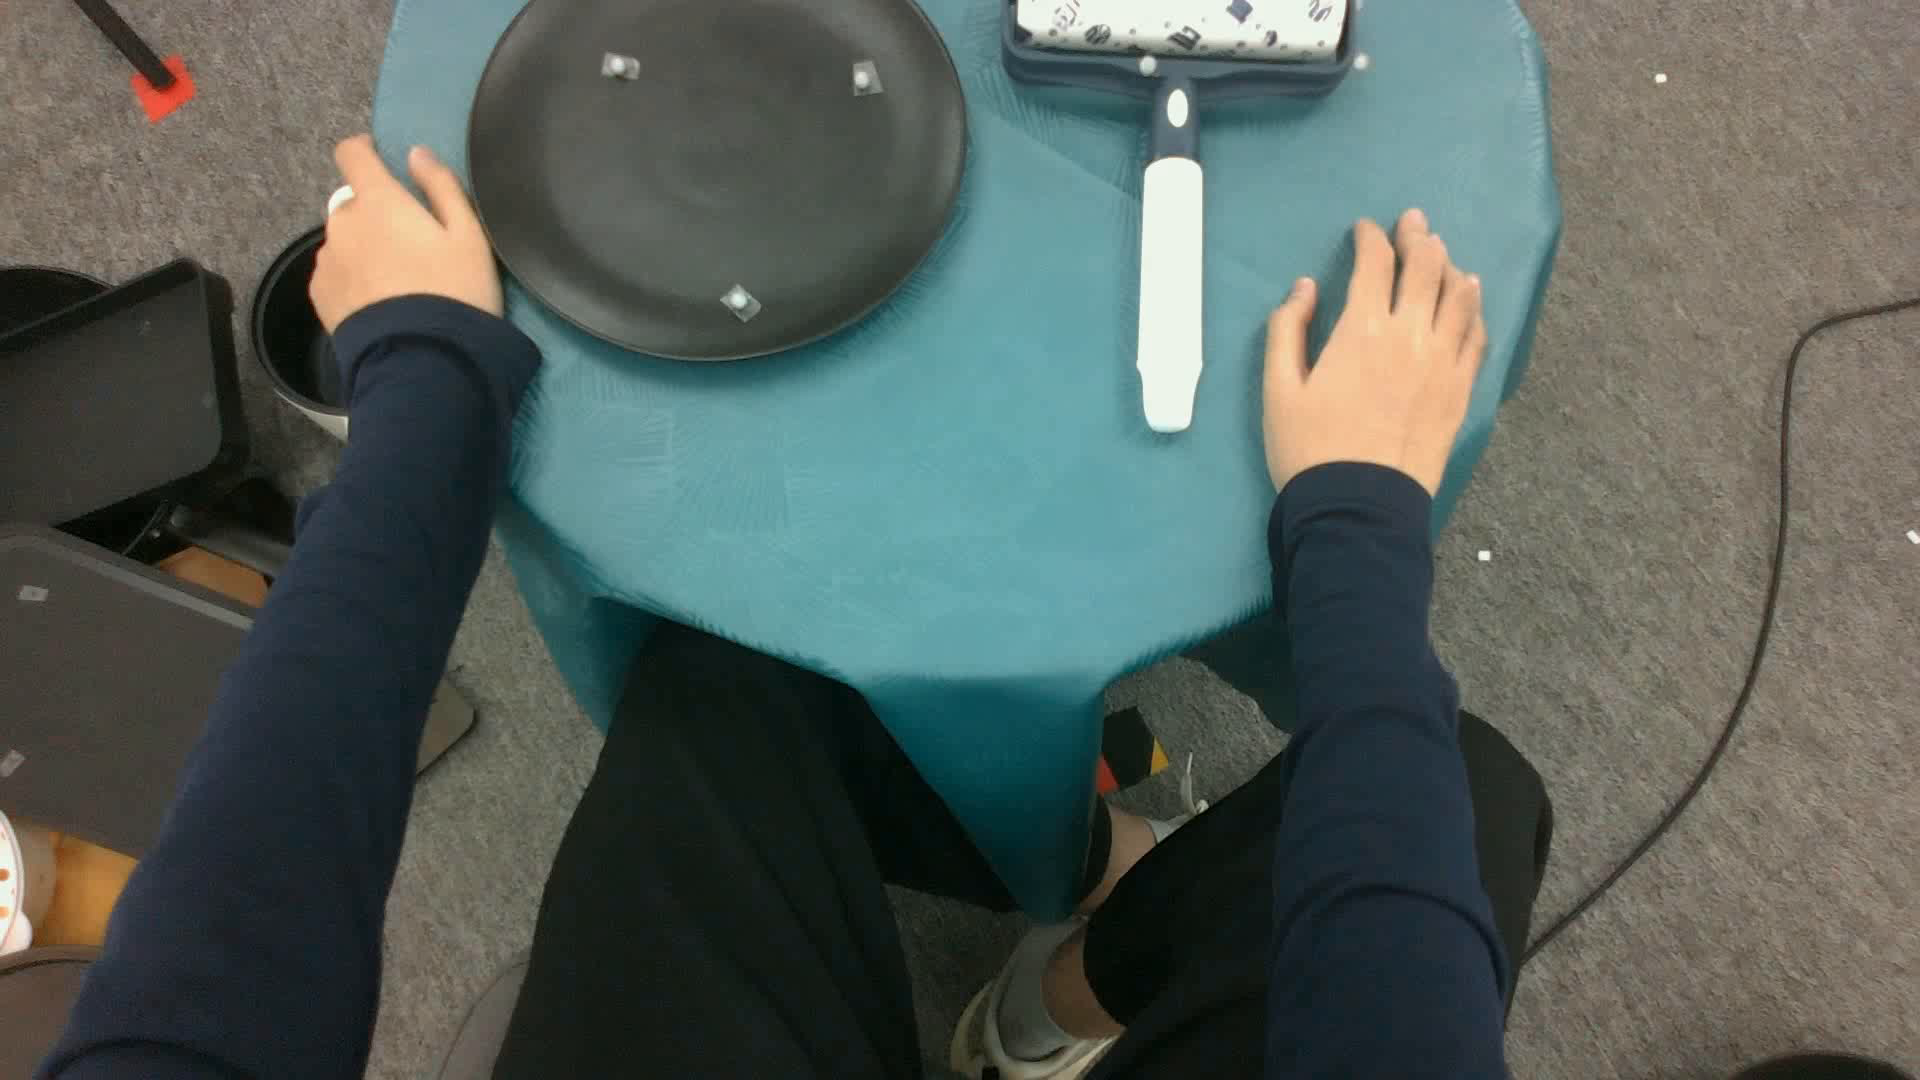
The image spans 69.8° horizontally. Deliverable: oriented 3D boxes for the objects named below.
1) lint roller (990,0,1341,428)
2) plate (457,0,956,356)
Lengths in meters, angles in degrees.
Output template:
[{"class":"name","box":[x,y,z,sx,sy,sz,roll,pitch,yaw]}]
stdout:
[{"class":"lint roller","box":[0.100,-0.177,0.675,0.176,0.050,0.247,3,77,-2]},{"class":"plate","box":[-0.123,-0.201,0.684,0.244,0.023,0.245,1,74,-2]}]
